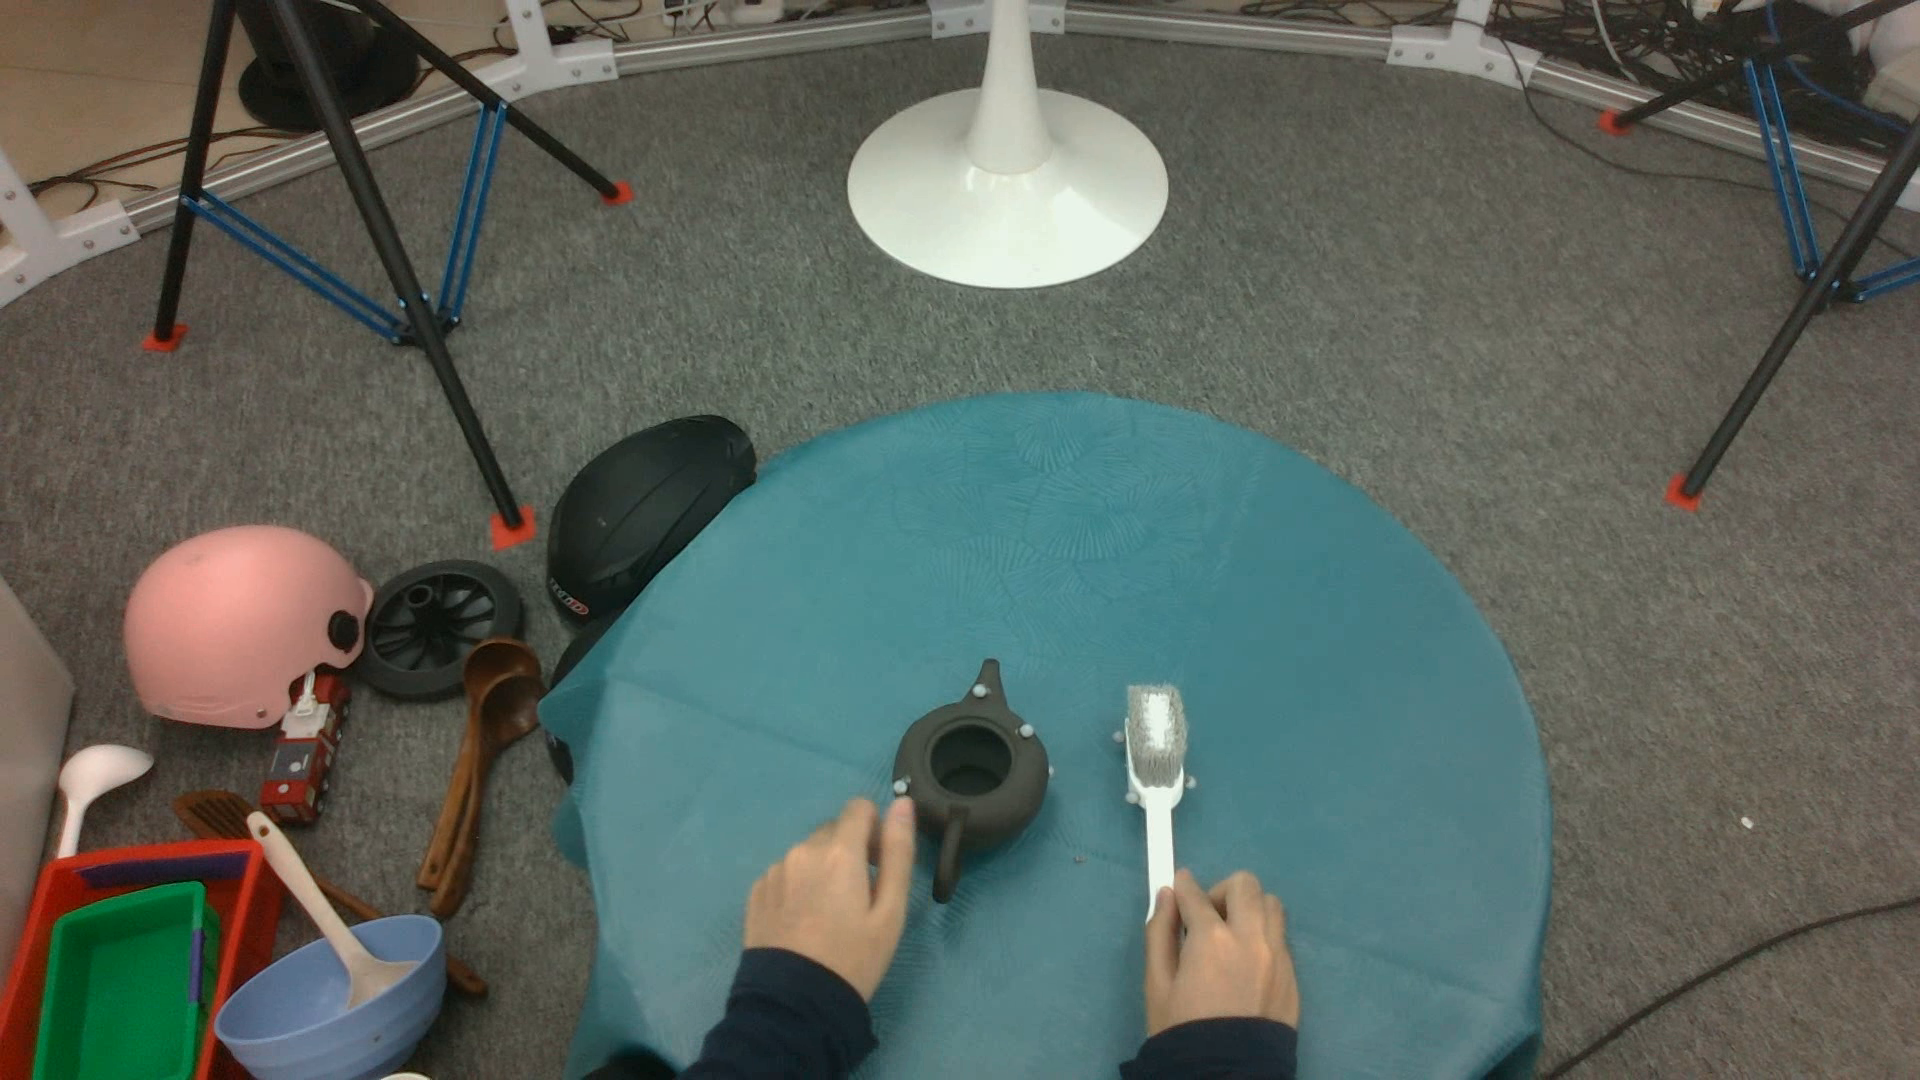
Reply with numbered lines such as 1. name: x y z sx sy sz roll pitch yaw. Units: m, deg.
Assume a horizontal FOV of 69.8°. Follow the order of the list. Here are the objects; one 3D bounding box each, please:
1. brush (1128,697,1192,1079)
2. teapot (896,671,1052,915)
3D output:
1. brush: 0.115 0.198 0.796 0.034 0.050 0.245 6 51 1
2. teapot: 0.008 0.152 0.826 0.092 0.064 0.155 10 53 8
